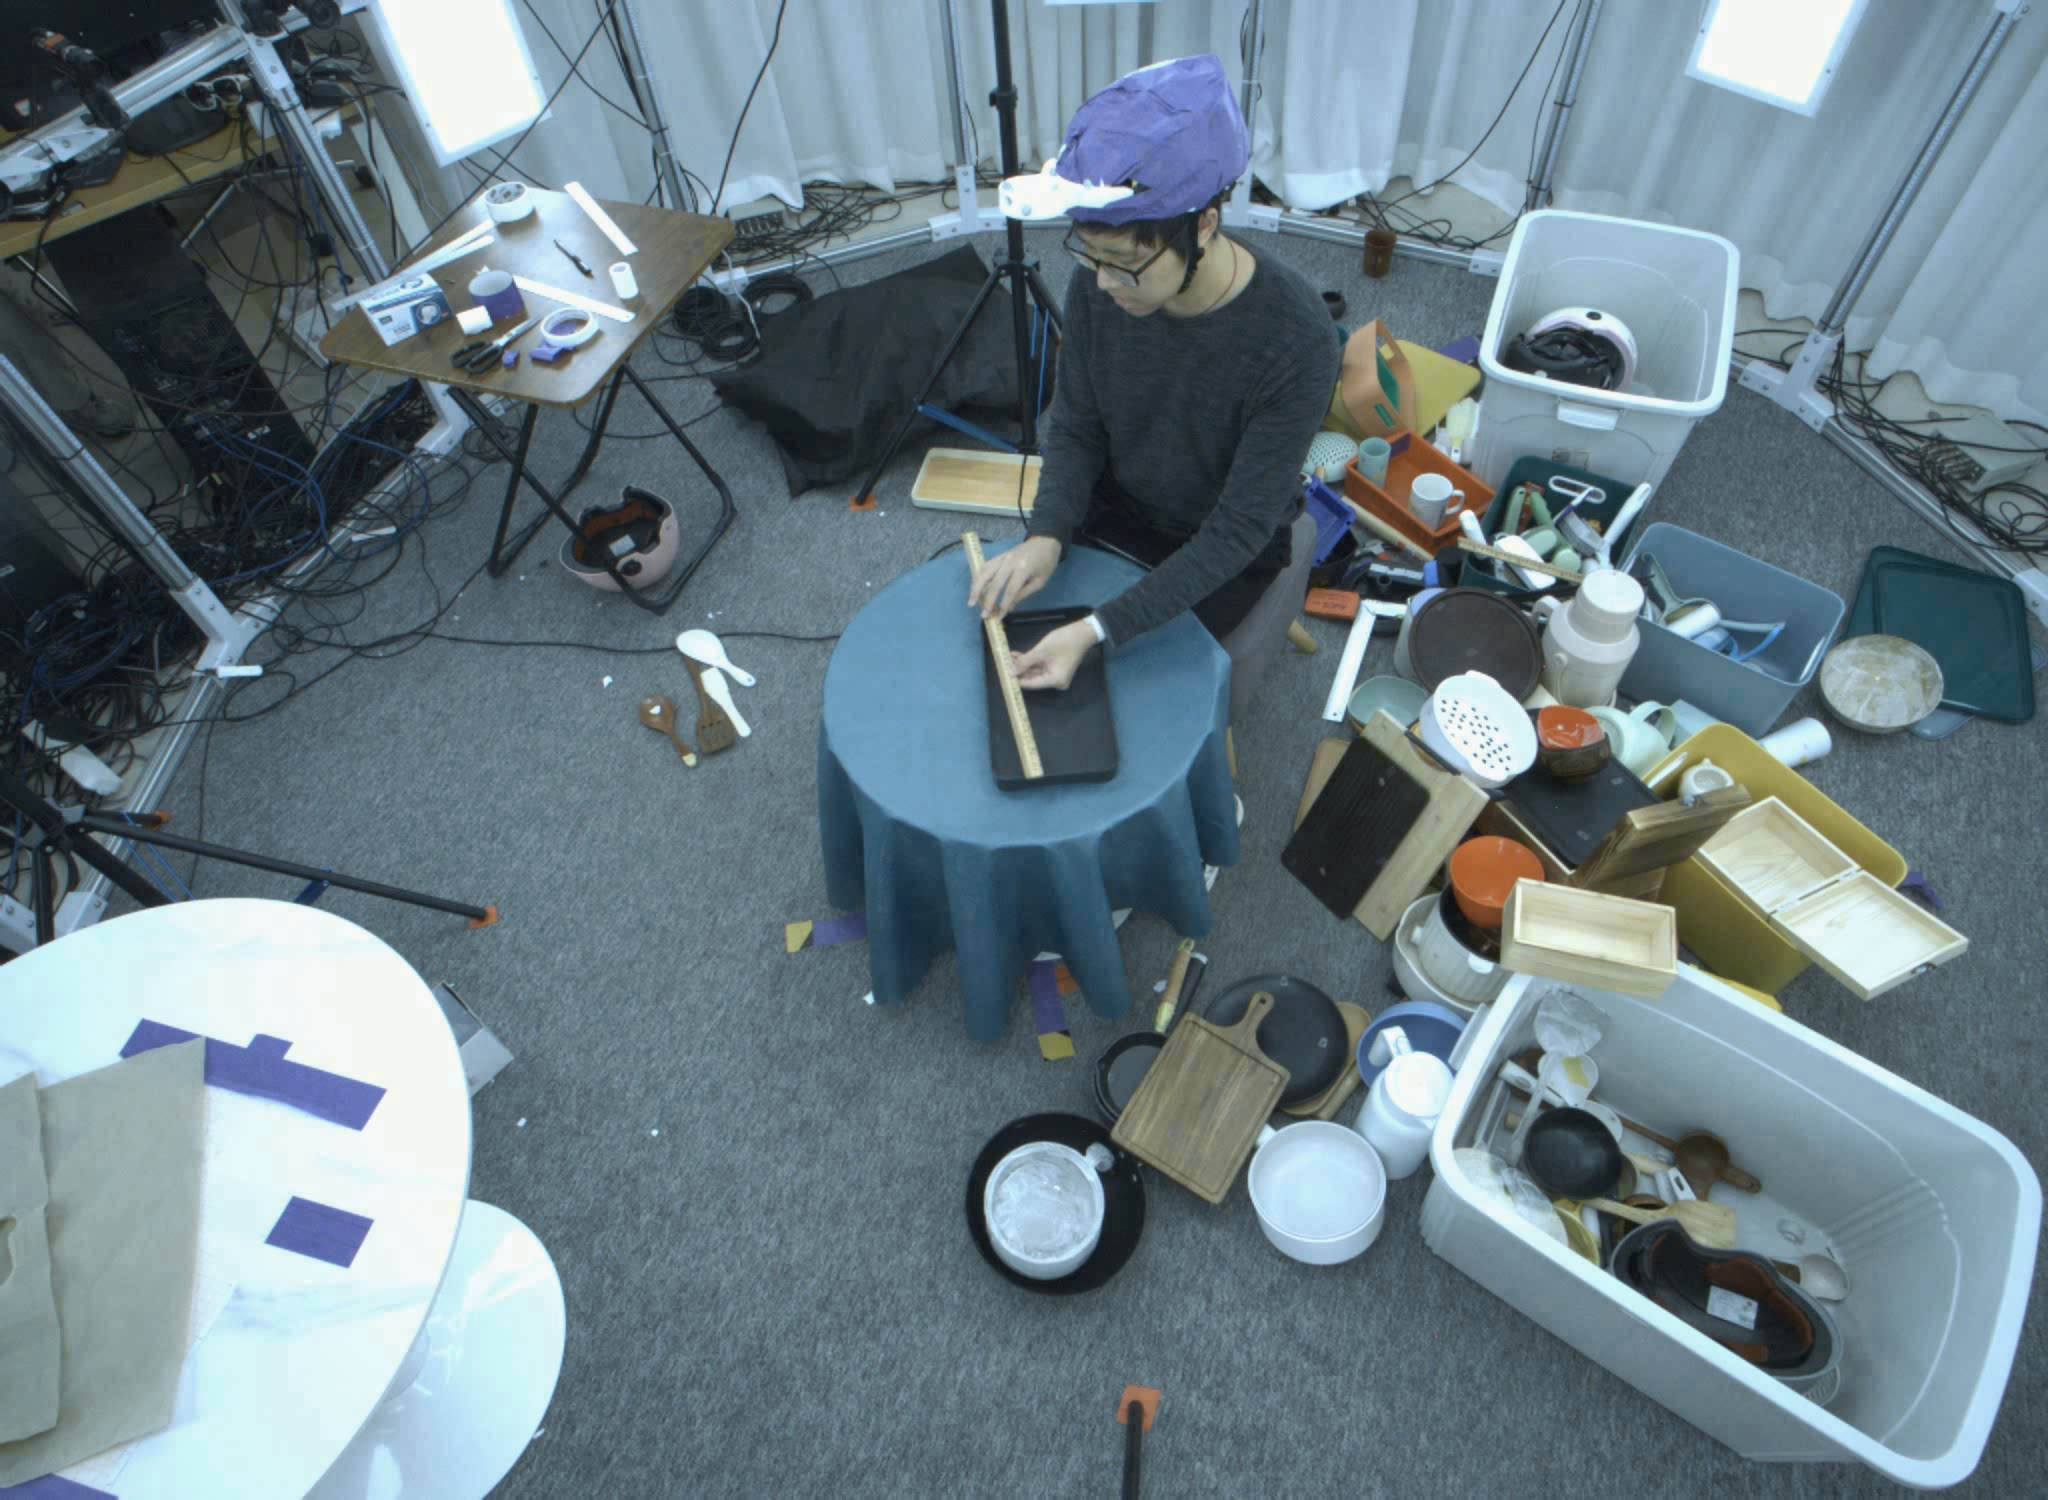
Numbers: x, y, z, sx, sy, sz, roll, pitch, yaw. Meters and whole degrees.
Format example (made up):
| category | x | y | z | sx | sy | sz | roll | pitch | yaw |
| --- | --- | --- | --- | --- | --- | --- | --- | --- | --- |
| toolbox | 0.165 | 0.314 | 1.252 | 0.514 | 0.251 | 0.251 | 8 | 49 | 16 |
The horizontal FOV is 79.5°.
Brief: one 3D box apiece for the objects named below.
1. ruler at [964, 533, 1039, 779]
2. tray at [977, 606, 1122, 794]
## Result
| category | x | y | z | sx | sy | sz | roll | pitch | yaw |
| --- | --- | --- | --- | --- | --- | --- | --- | --- | --- |
| ruler | -0.038 | -0.157 | 1.844 | 0.027 | 0.006 | 0.493 | -6 | 54 | -10 |
| tray | 0.034 | -0.079 | 1.821 | 0.185 | 0.037 | 0.314 | -6 | 54 | -3 |
